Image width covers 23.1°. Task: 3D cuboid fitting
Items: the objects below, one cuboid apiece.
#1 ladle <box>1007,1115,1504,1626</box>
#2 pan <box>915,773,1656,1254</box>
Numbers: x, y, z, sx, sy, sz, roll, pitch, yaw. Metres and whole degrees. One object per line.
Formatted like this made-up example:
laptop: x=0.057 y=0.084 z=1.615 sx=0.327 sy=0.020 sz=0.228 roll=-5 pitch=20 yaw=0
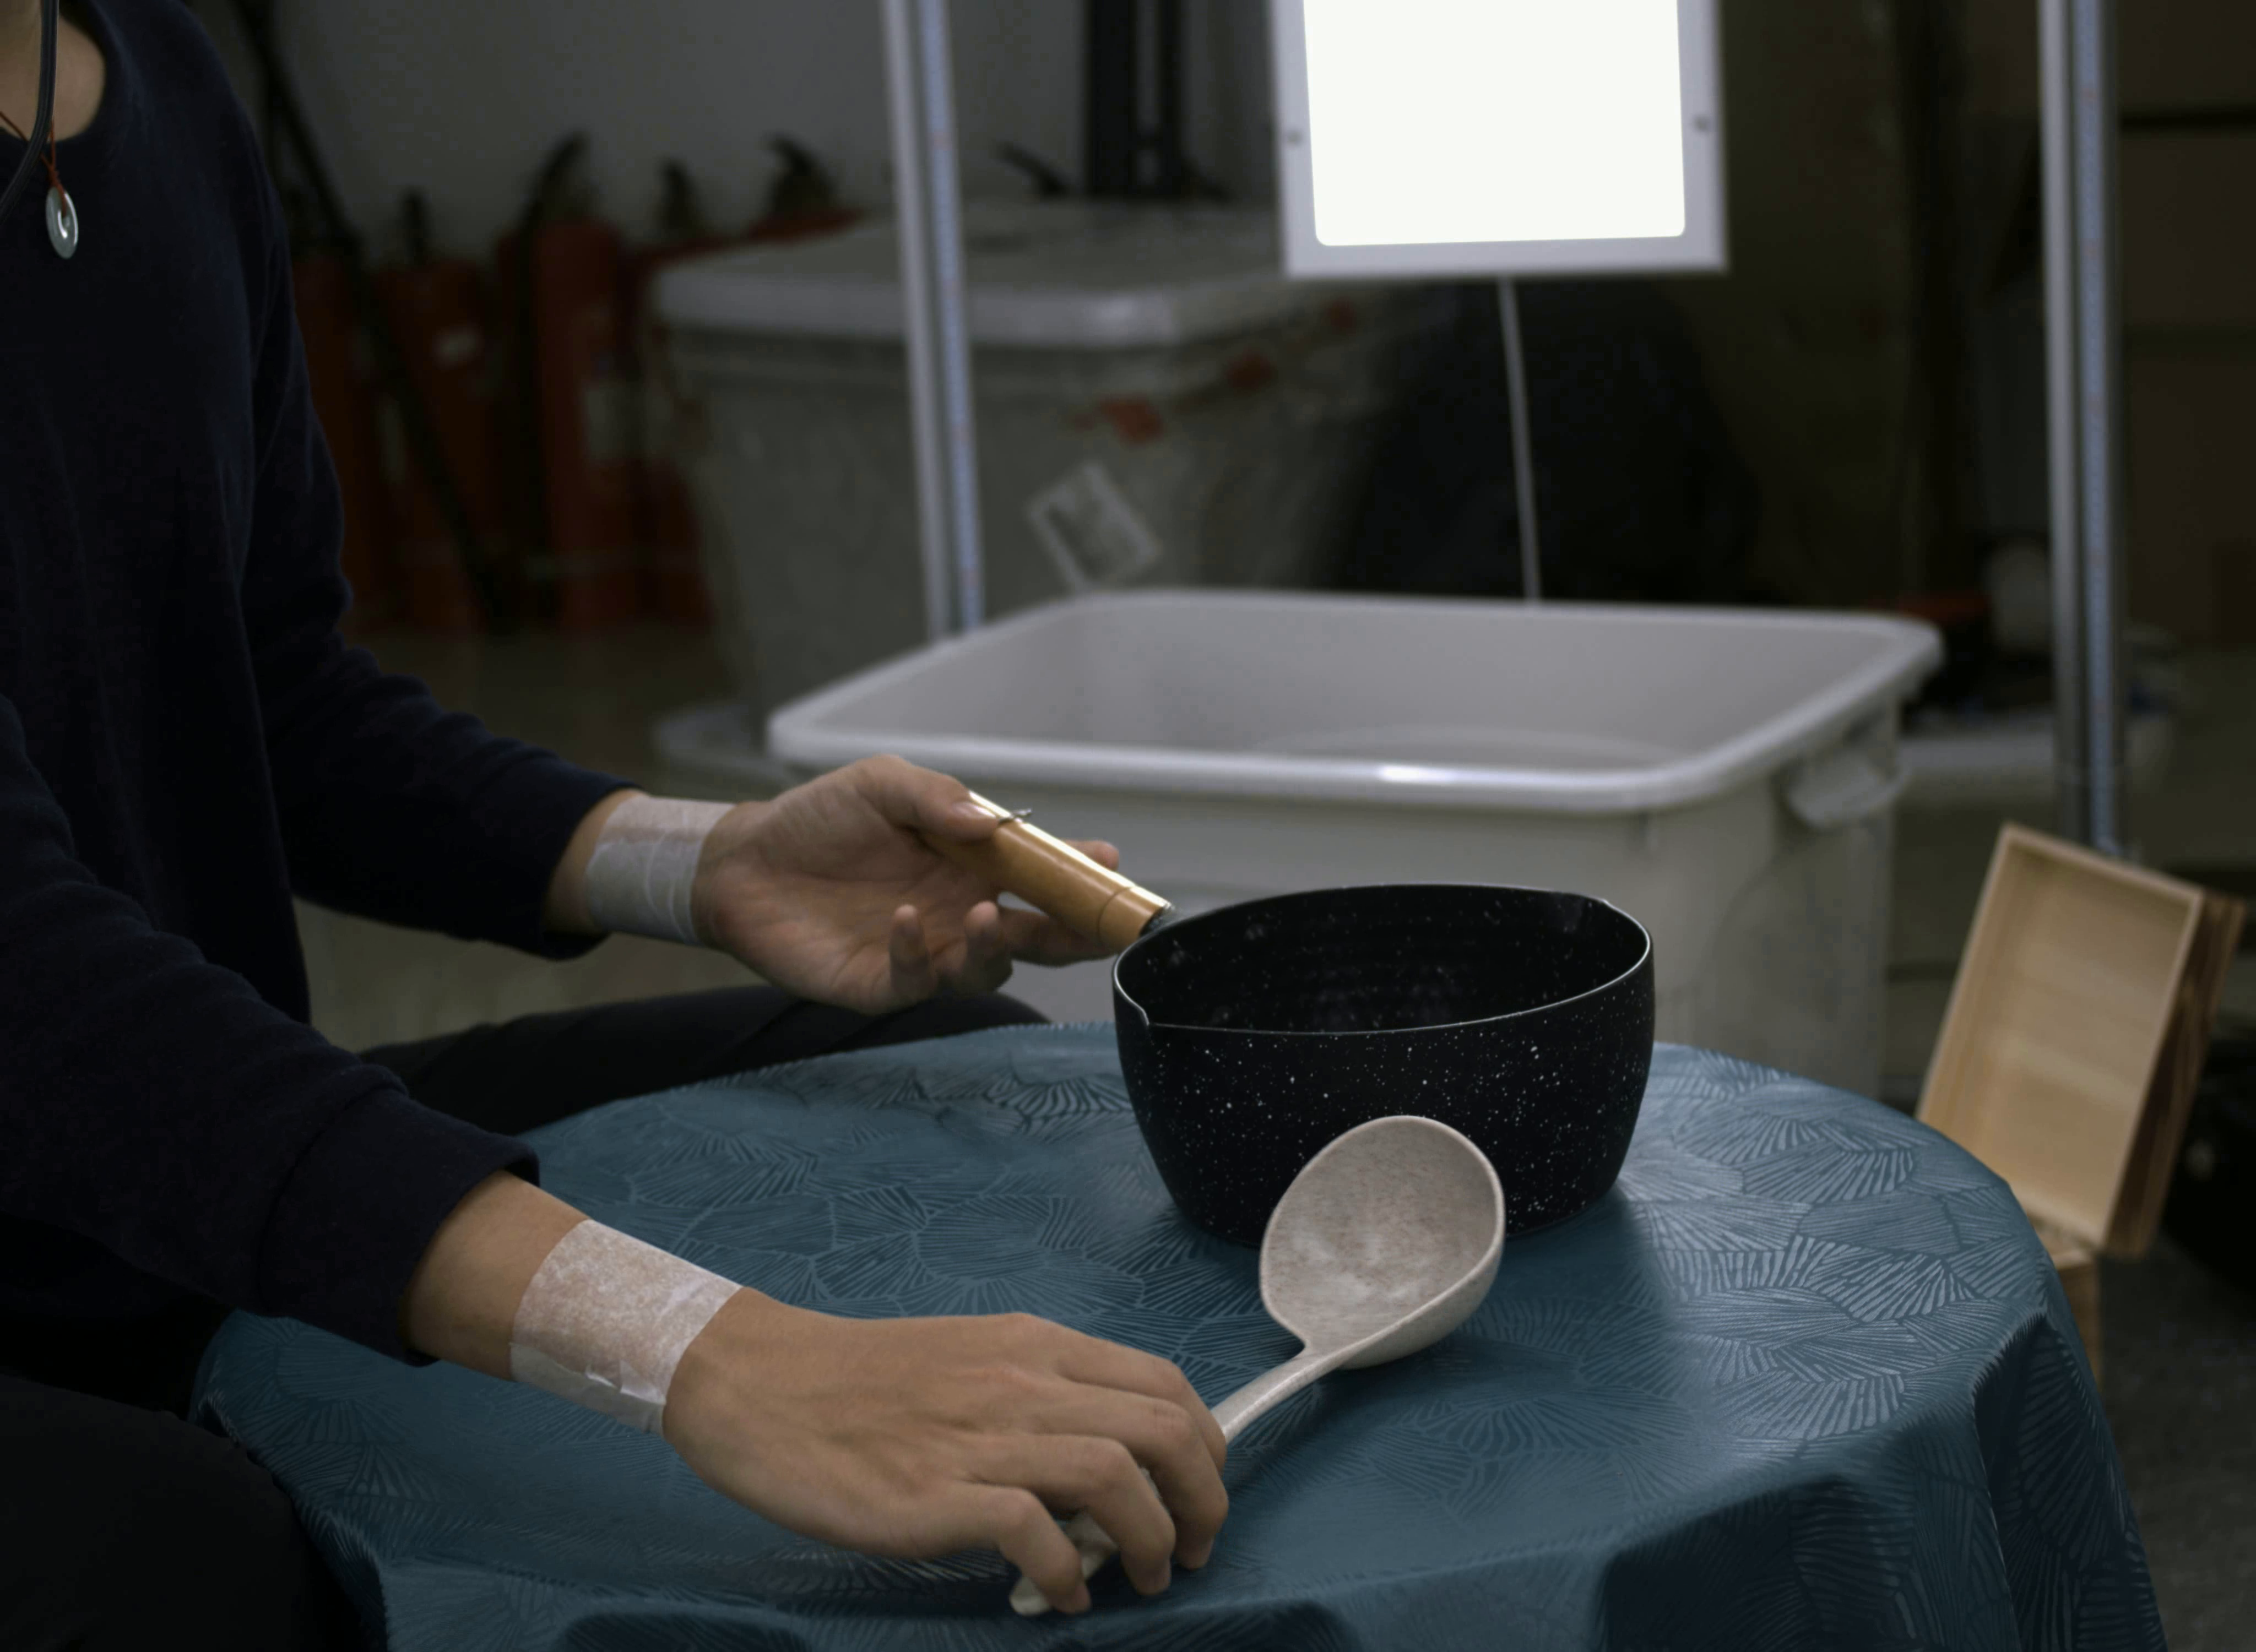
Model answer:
ladle: x=0.028 y=0.155 z=1.622 sx=0.091 sy=0.069 sz=0.268 roll=-10 pitch=9 yaw=32
pan: x=0.037 y=0.060 z=1.923 sx=0.202 sy=0.108 sz=0.350 roll=-17 pitch=20 yaw=-36
